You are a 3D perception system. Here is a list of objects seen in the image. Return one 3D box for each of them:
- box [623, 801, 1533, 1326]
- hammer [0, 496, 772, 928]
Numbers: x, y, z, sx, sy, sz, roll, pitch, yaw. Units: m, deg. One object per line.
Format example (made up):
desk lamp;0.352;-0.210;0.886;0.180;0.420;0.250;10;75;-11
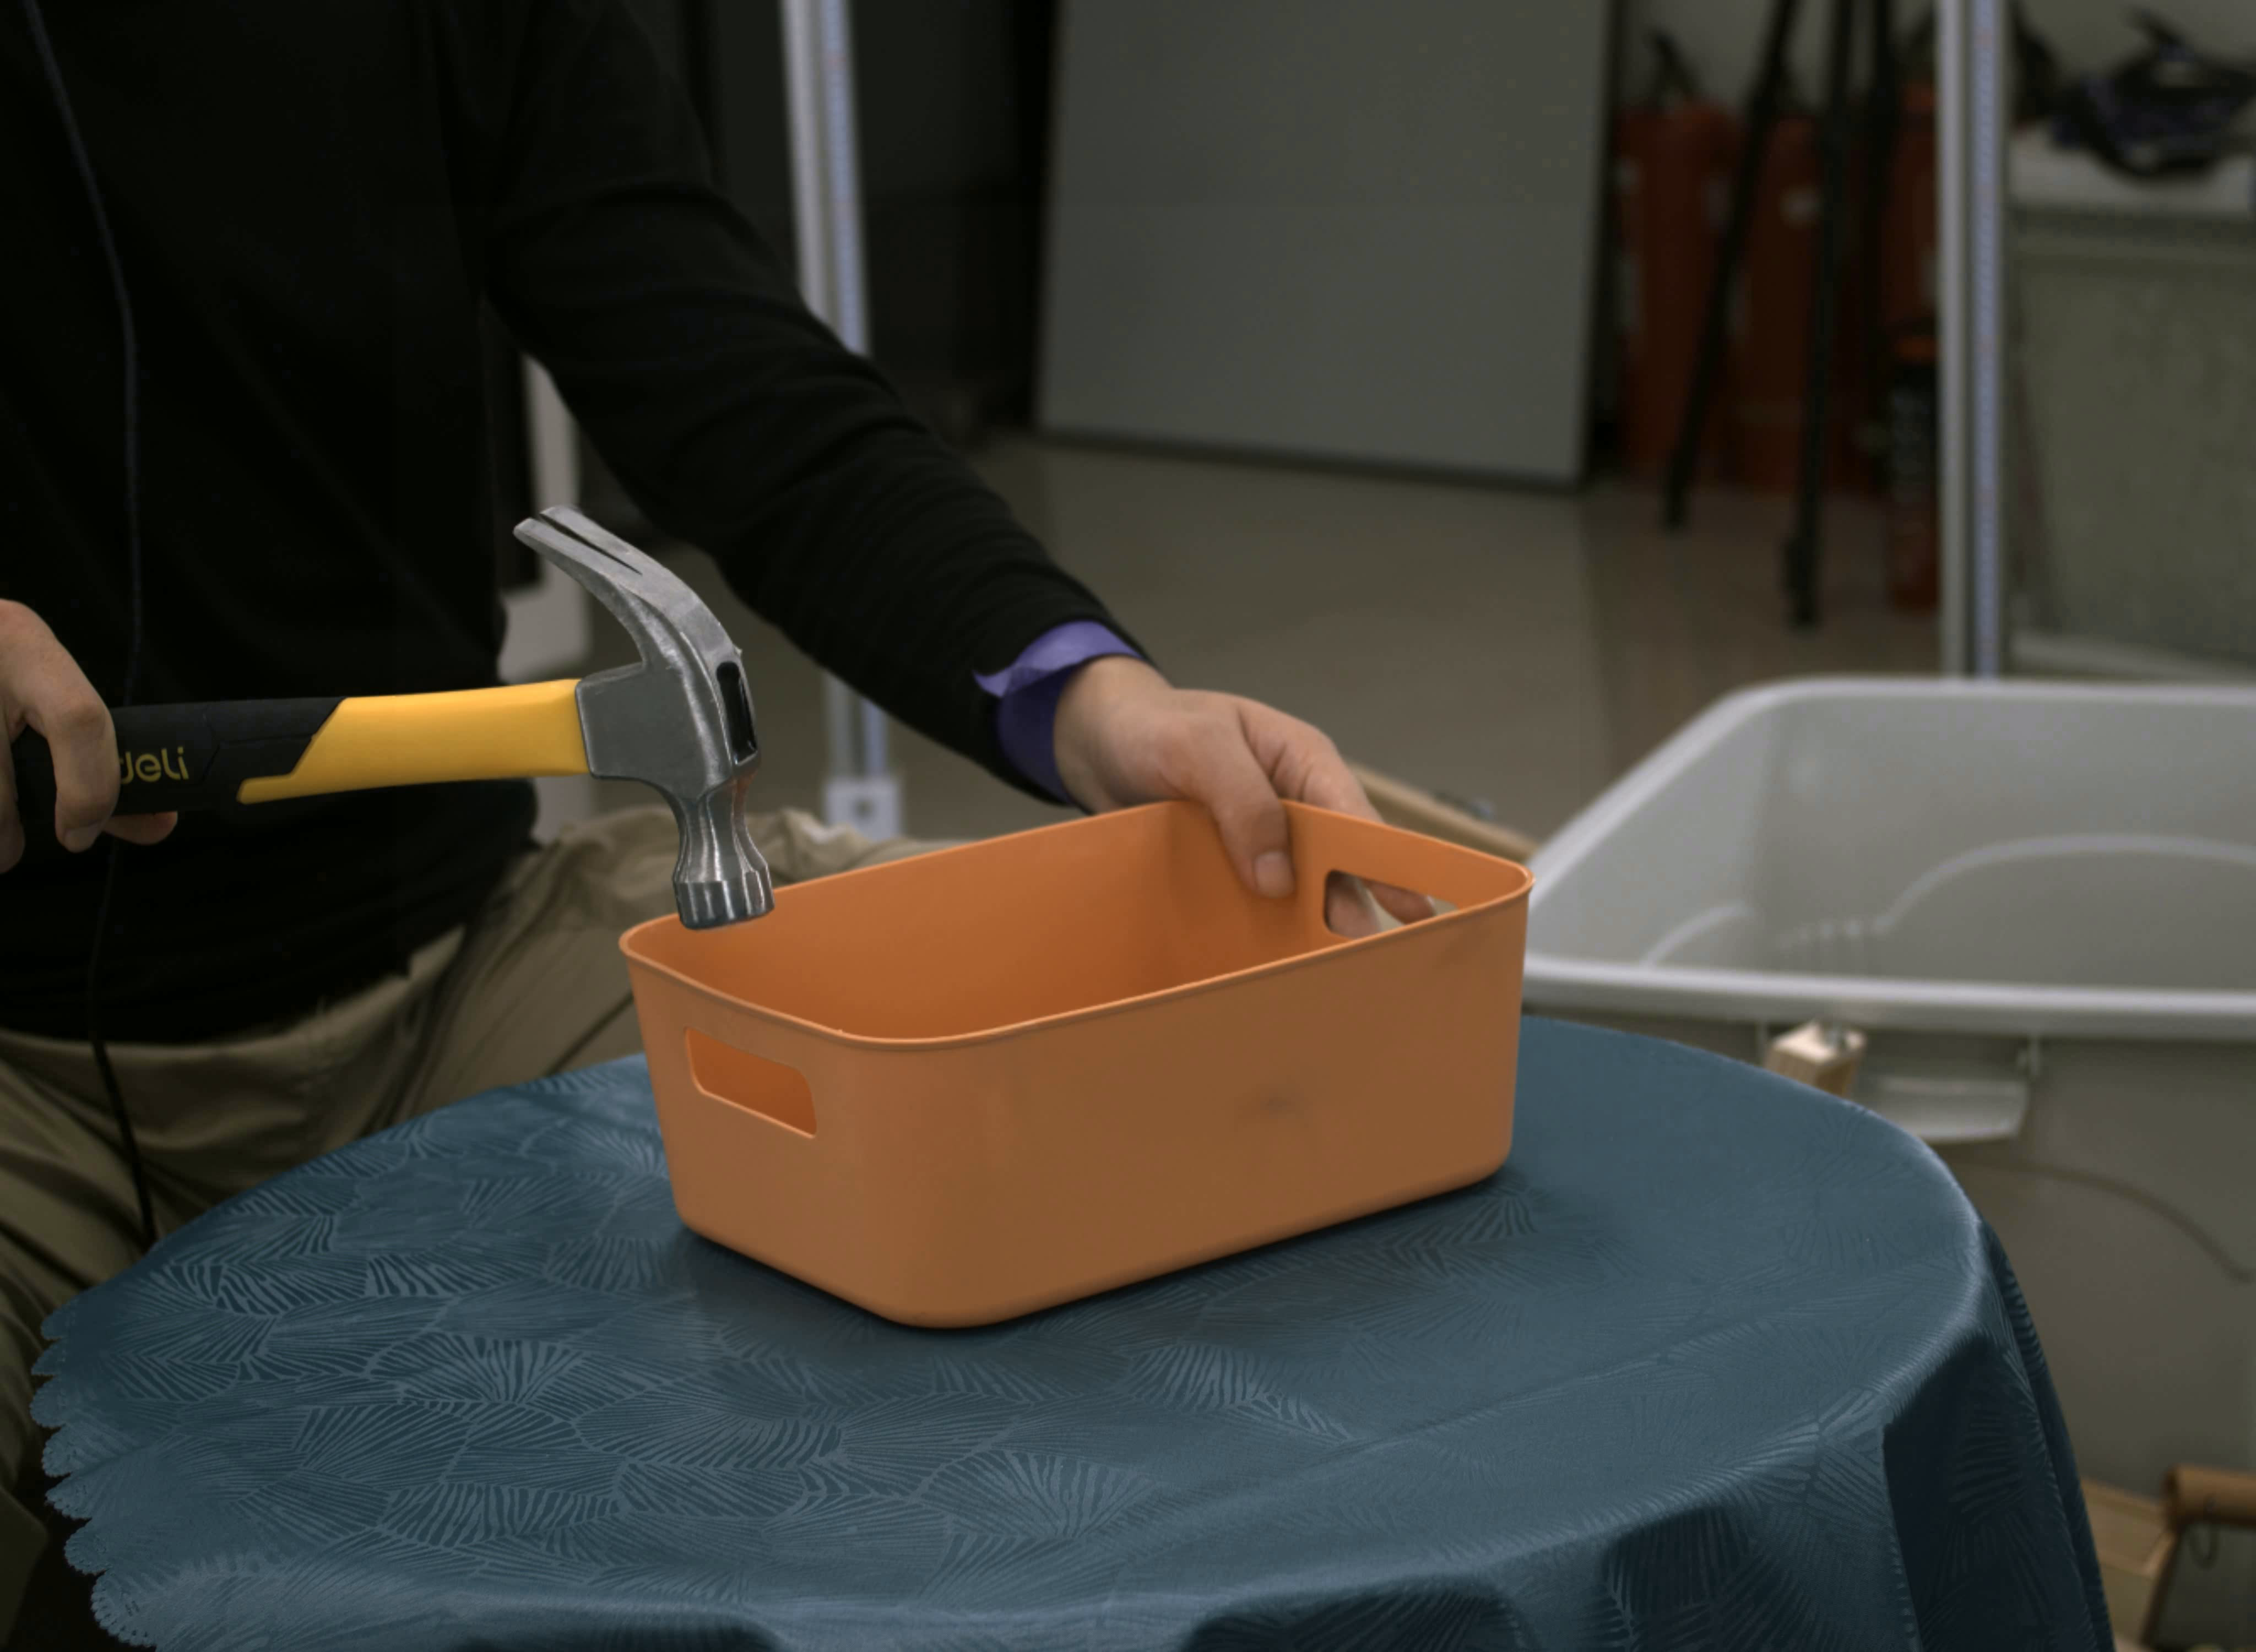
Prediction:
box;-0.013;0.074;1.754;0.267;0.104;0.201;-13;15;-33
hammer;-0.272;-0.023;1.702;0.338;0.133;0.032;-5;11;24
